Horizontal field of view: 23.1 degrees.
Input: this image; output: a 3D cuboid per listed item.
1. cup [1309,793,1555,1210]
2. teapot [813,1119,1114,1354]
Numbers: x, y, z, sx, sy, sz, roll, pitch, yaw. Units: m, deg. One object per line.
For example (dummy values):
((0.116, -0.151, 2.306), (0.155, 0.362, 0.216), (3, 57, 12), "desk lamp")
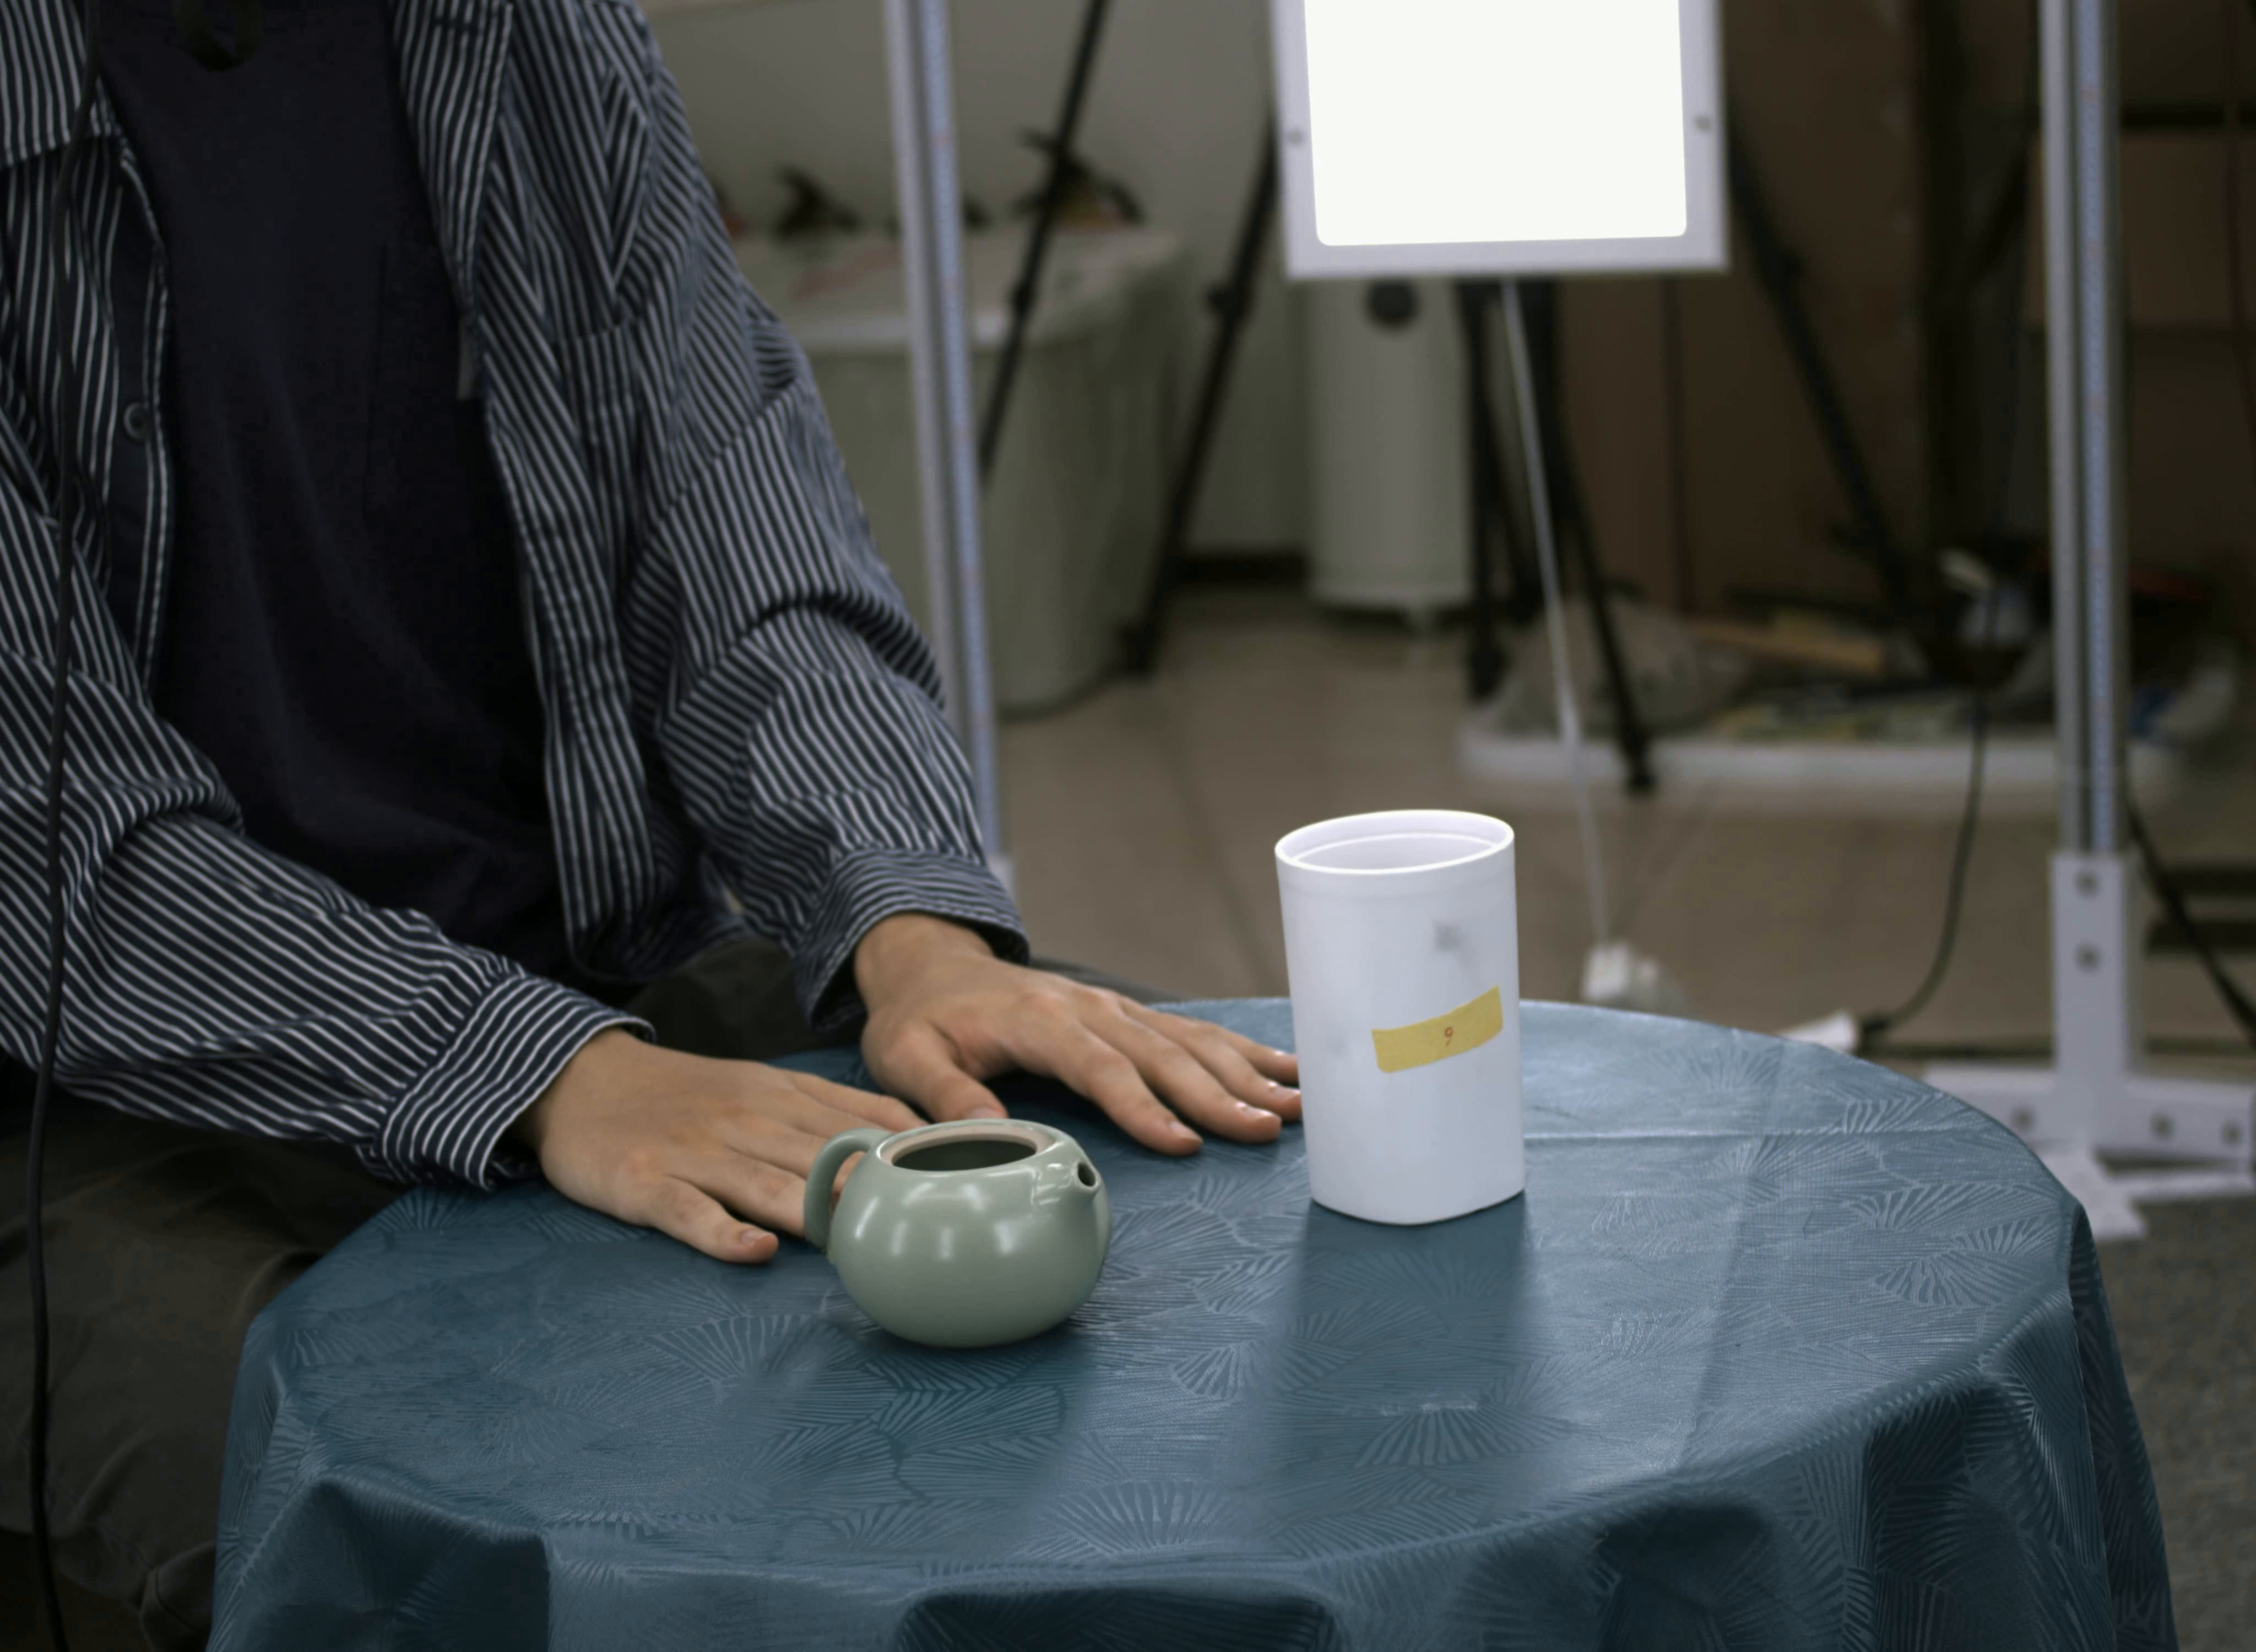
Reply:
((0.106, 0.059, 1.853), (0.081, 0.126, 0.081), (-5, 14, 0), "cup")
((-0.057, 0.131, 1.775), (0.089, 0.061, 0.131), (-20, 19, -40), "teapot")
